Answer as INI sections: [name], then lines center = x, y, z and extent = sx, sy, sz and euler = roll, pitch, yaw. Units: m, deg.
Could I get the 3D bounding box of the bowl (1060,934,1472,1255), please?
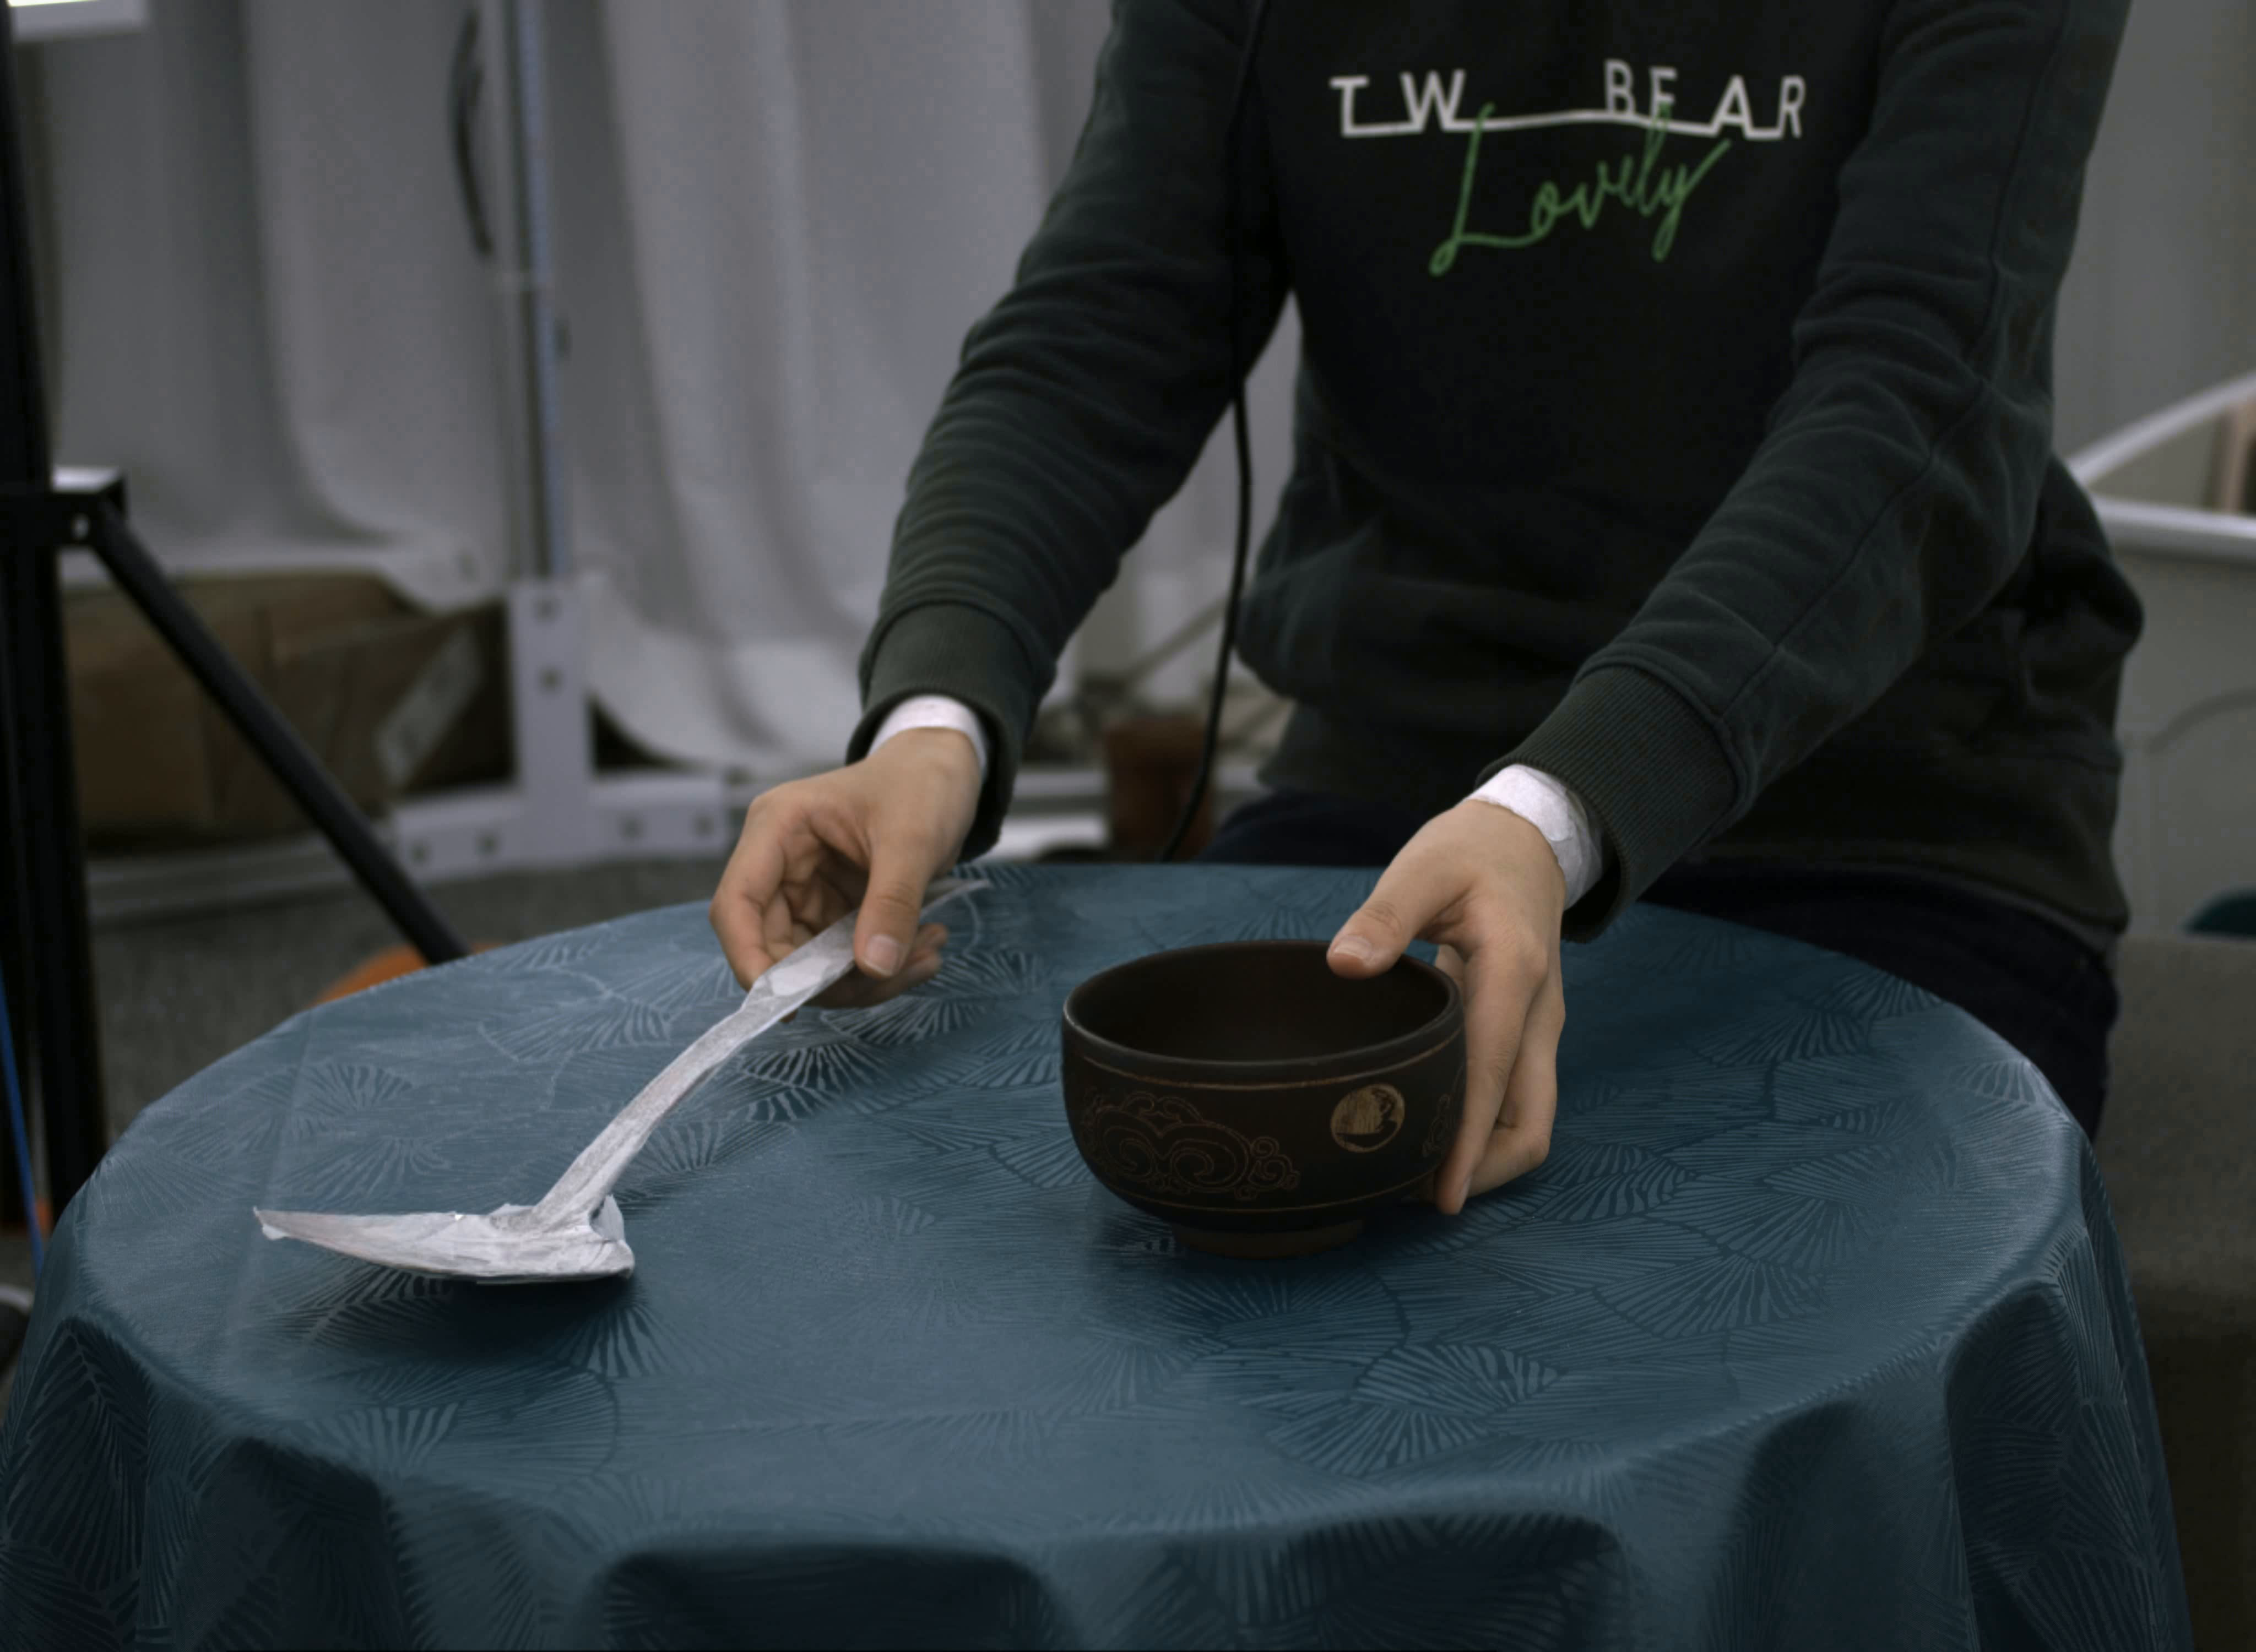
[bowl]
center = 0.040, 0.081, 1.516
extent = 0.117, 0.070, 0.118
euler = -2, 16, -1

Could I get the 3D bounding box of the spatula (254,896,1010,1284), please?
[spatula]
center = -0.128, 0.070, 1.604
extent = 0.100, 0.044, 0.360
euler = 7, 24, 26
